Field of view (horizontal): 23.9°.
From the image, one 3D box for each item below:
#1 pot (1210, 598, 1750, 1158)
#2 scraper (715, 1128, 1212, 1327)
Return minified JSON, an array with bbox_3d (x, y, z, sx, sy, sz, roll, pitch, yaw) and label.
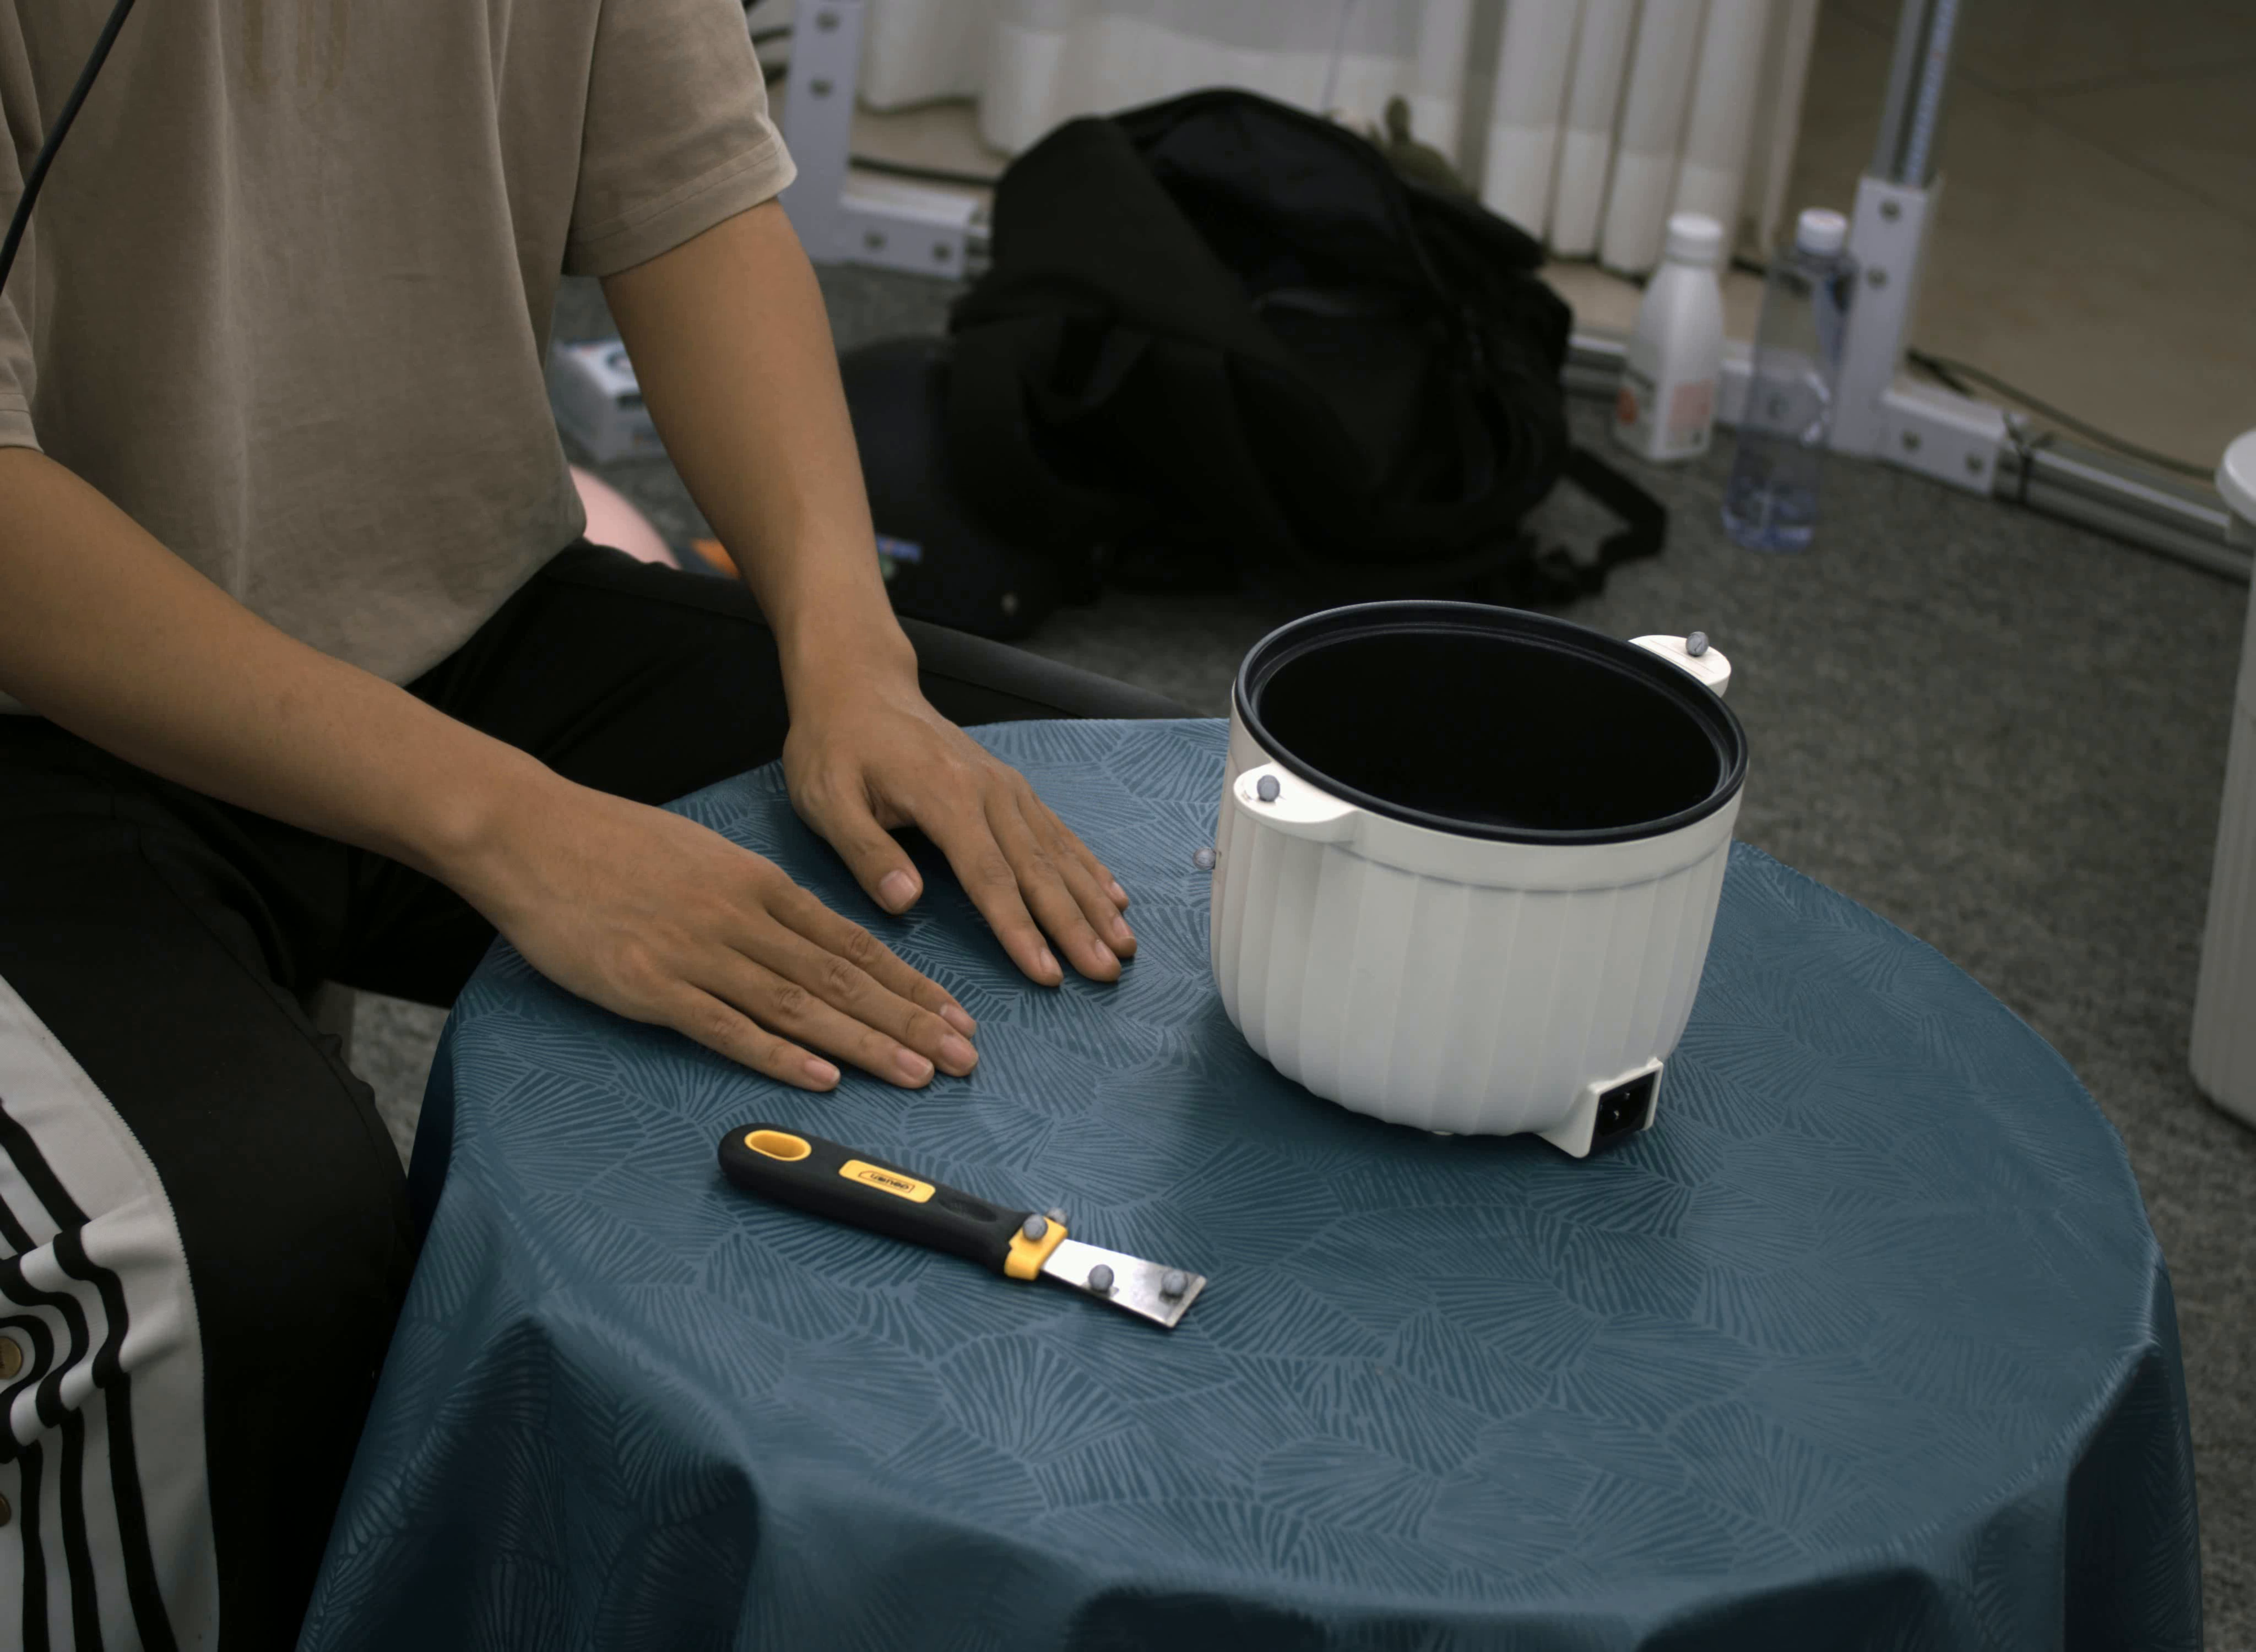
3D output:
[{"bbox_3d":[0.114,0.018,1.888,0.239,0.142,0.192,-18,40,-42],"label":"pot"},{"bbox_3d":[-0.057,0.132,1.757,0.171,0.015,0.039,16,30,13],"label":"scraper"}]
